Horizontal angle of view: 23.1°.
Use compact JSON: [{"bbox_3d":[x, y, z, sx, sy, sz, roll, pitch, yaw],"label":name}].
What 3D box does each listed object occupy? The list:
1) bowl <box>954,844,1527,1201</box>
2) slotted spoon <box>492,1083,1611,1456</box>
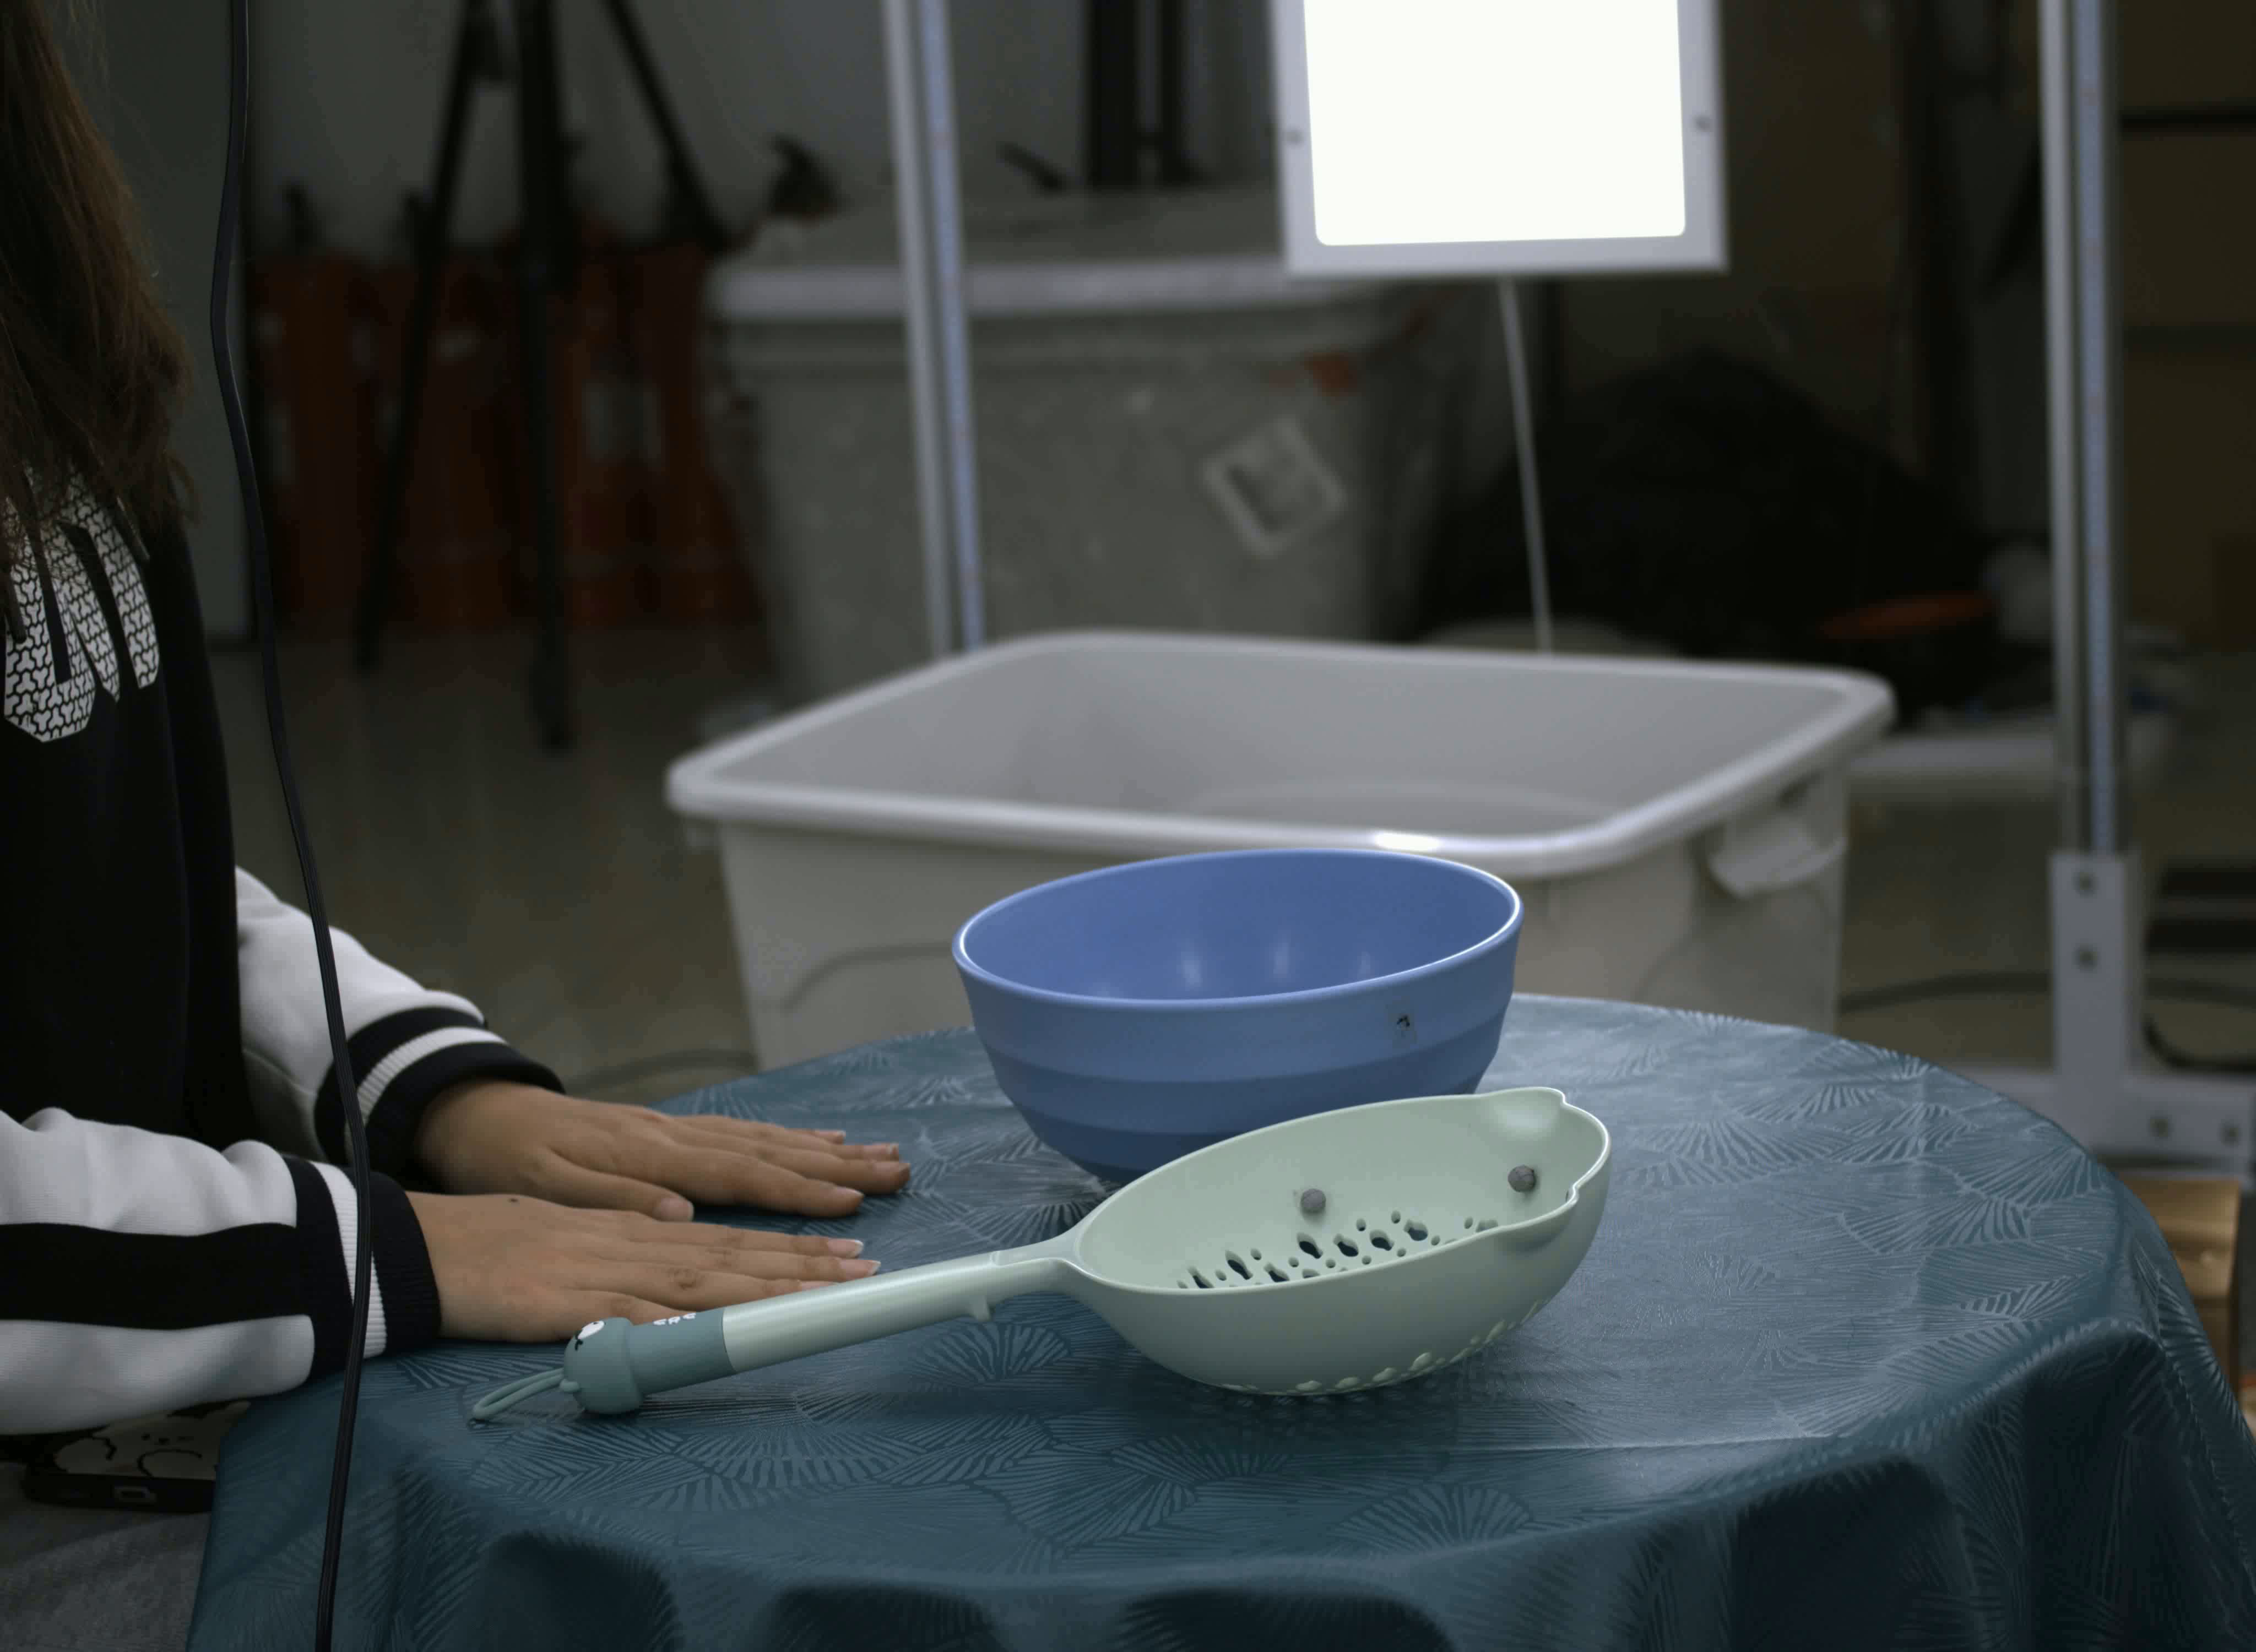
[{"bbox_3d":[0.042,0.077,1.884,0.196,0.096,0.196,-5,14,0],"label":"bowl"},{"bbox_3d":[-0.026,0.146,1.709,0.360,0.075,0.168,-5,13,6],"label":"slotted spoon"}]
